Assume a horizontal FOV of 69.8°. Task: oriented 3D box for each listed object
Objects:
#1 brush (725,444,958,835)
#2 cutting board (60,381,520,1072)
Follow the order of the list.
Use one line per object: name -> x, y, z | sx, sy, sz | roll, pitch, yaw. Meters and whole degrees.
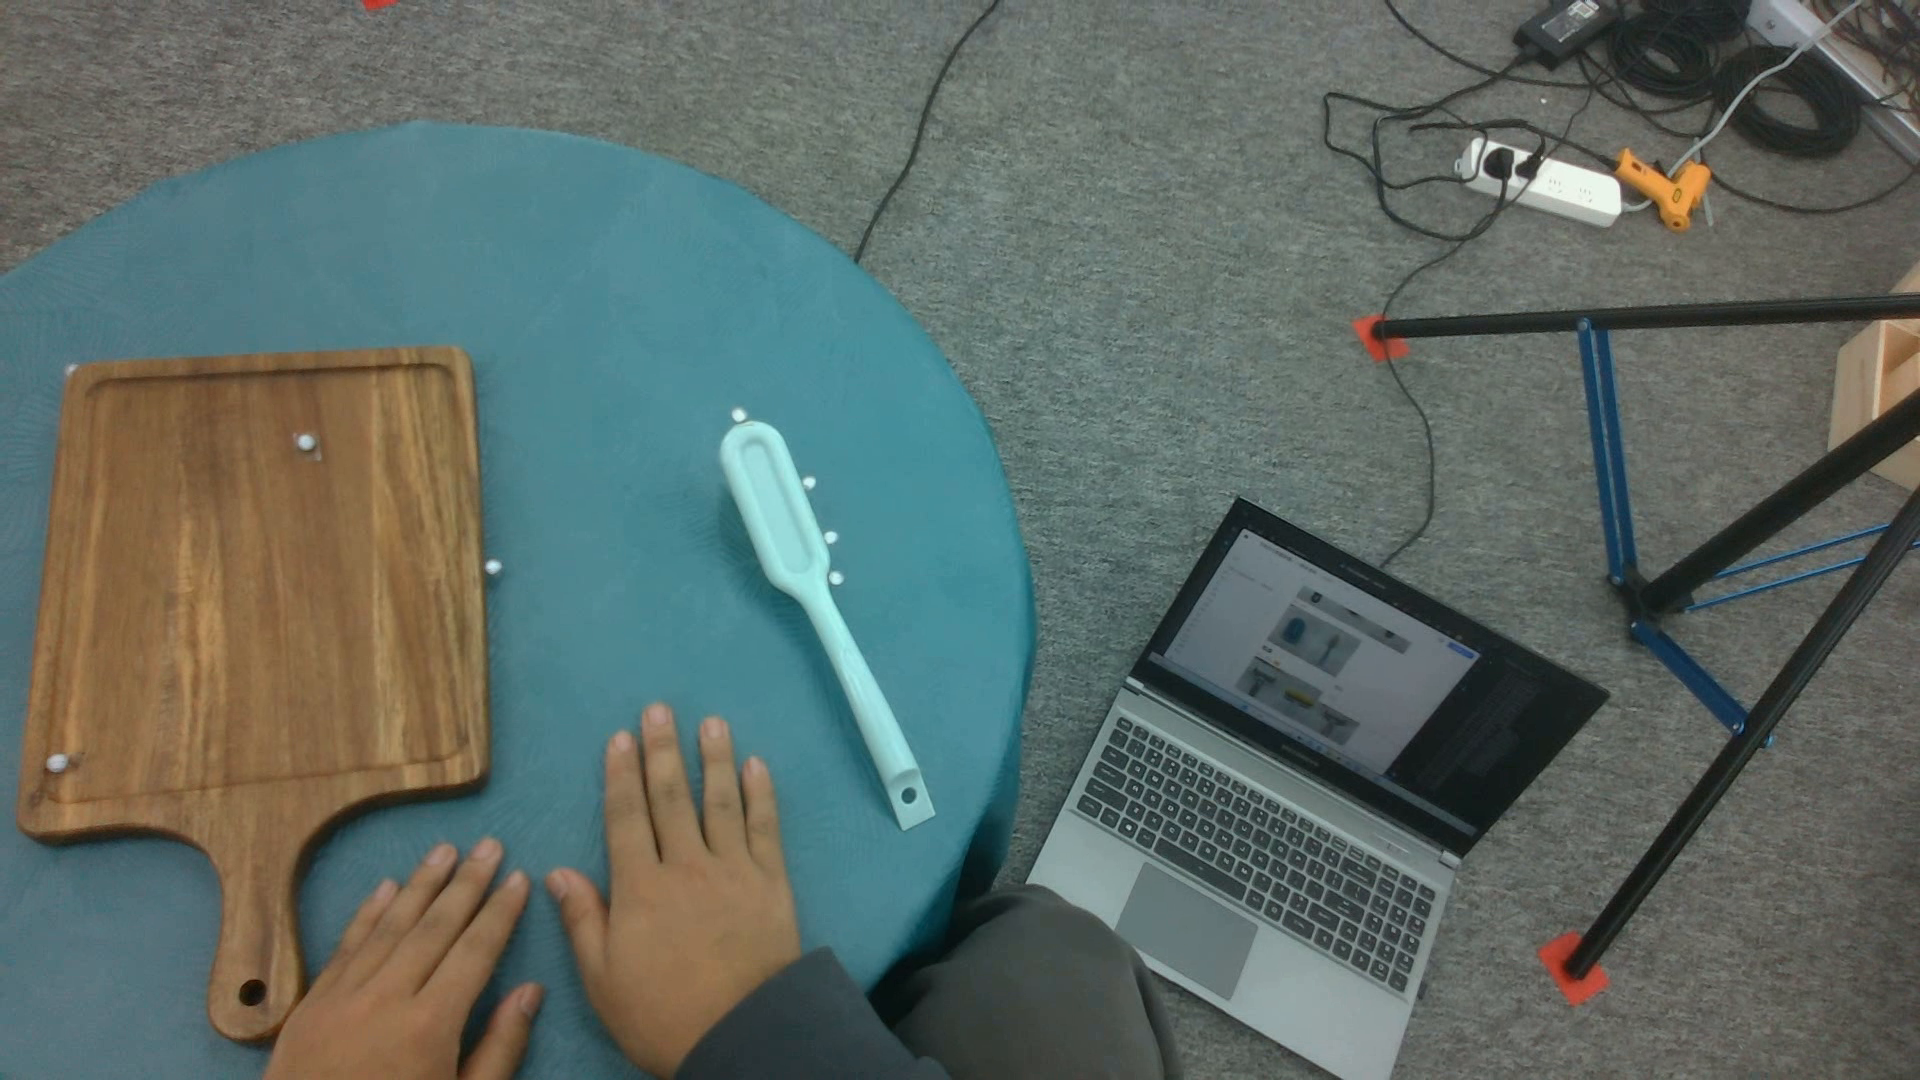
brush -> -0.063, 0.052, 0.736 | 0.038, 0.049, 0.229 | -27, 77, -16
cutting board -> -0.327, 0.078, 0.679 | 0.201, 0.023, 0.353 | -7, 63, -14
